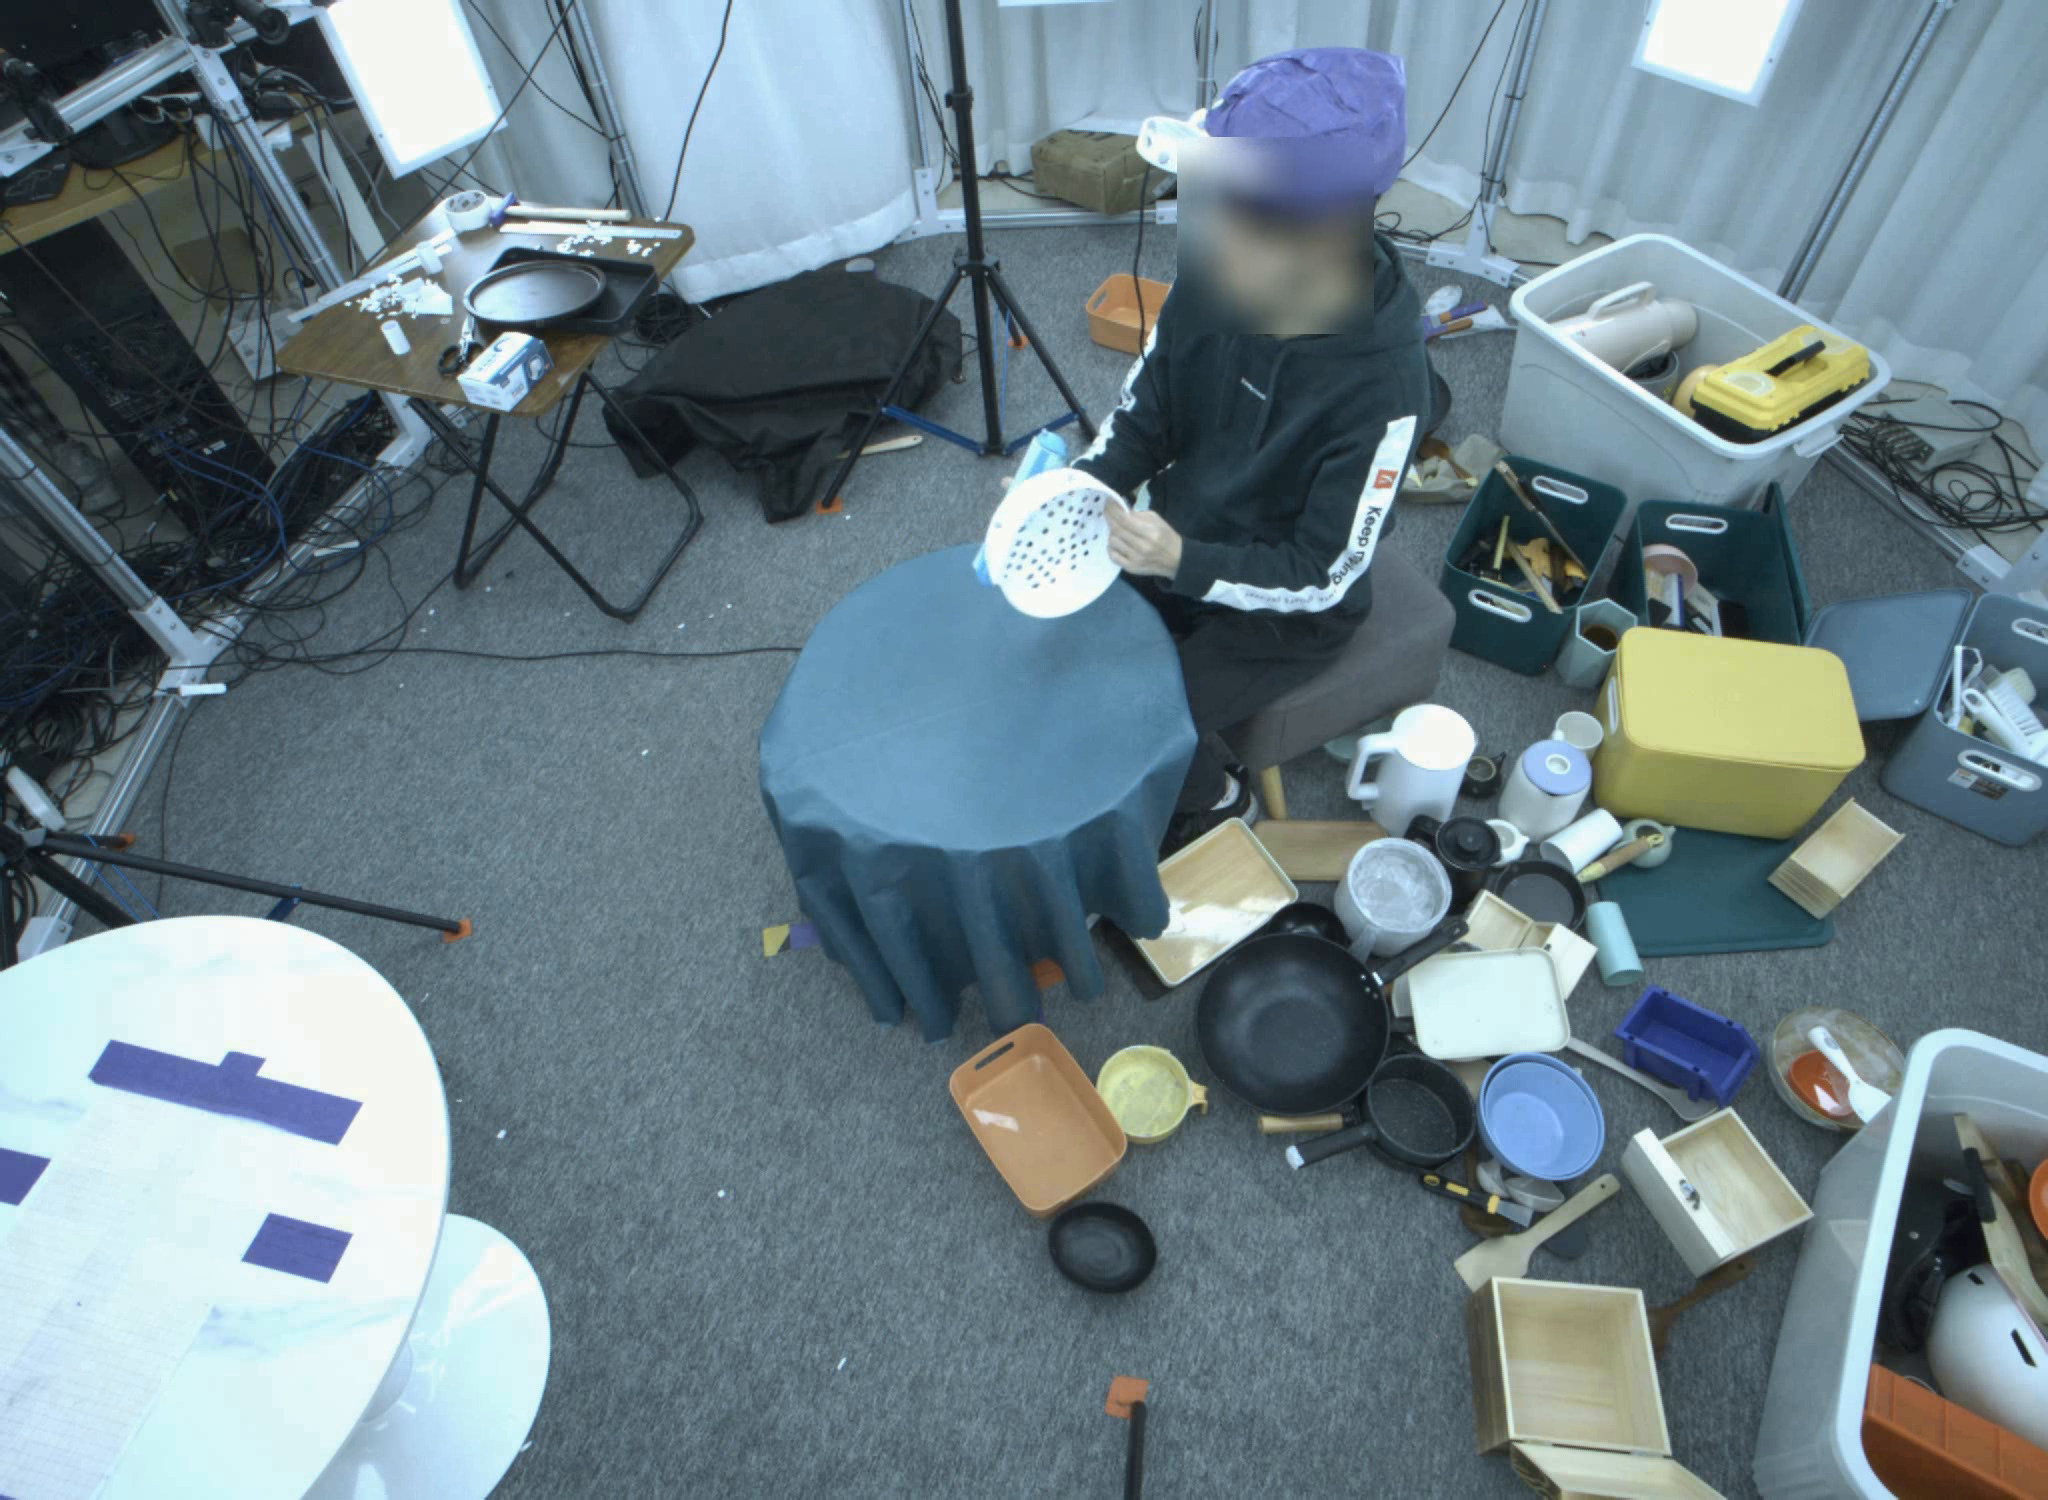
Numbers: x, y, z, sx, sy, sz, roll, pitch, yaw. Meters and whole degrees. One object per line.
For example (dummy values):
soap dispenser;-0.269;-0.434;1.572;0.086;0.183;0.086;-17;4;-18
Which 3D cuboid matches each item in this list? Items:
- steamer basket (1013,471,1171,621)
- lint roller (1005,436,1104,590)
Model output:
steamer basket;0.083;-0.270;1.626;0.234;0.203;0.068;-12;45;-28
lint roller;0.061;-0.325;1.689;0.067;0.229;0.182;33;20;14
